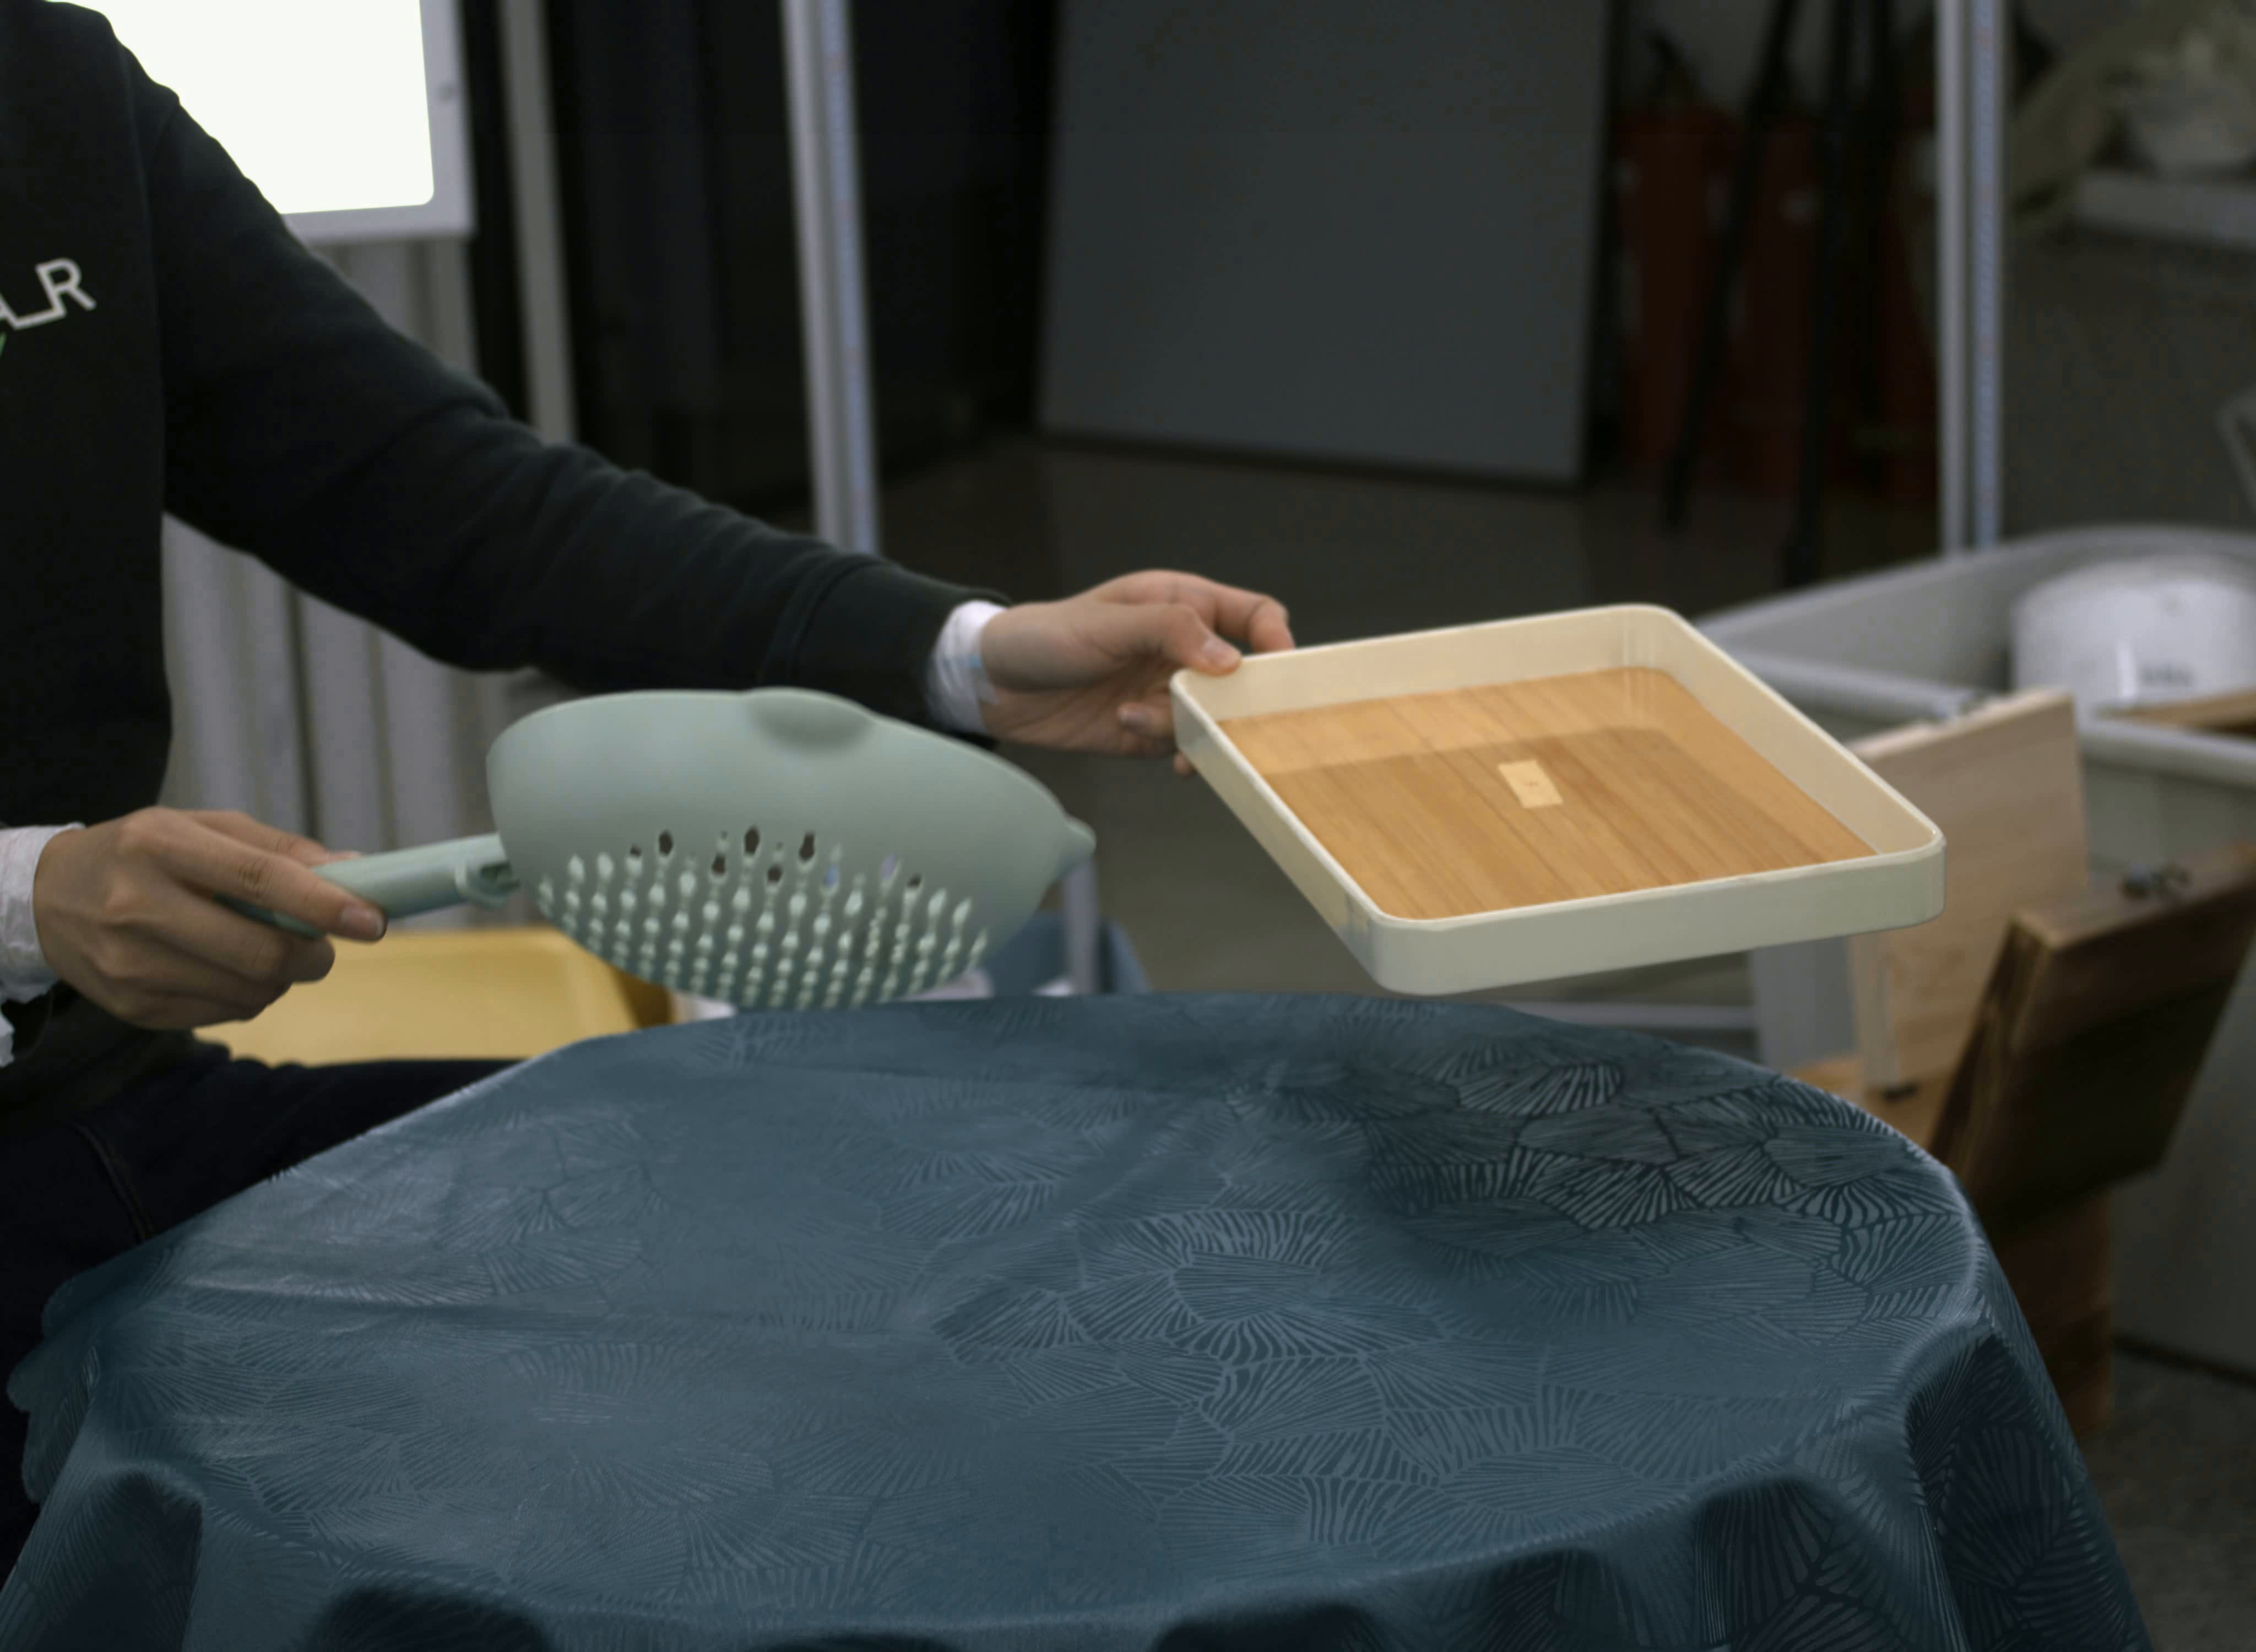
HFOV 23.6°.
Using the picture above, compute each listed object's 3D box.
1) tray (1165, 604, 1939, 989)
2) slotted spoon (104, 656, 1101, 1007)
[{"bbox_3d":[0.134,-0.014,1.800,0.188,0.027,0.302,-8,18,-10],"label":"tray"},{"bbox_3d":[-0.176,0.014,1.607,0.361,0.076,0.166,-3,-22,40],"label":"slotted spoon"}]
